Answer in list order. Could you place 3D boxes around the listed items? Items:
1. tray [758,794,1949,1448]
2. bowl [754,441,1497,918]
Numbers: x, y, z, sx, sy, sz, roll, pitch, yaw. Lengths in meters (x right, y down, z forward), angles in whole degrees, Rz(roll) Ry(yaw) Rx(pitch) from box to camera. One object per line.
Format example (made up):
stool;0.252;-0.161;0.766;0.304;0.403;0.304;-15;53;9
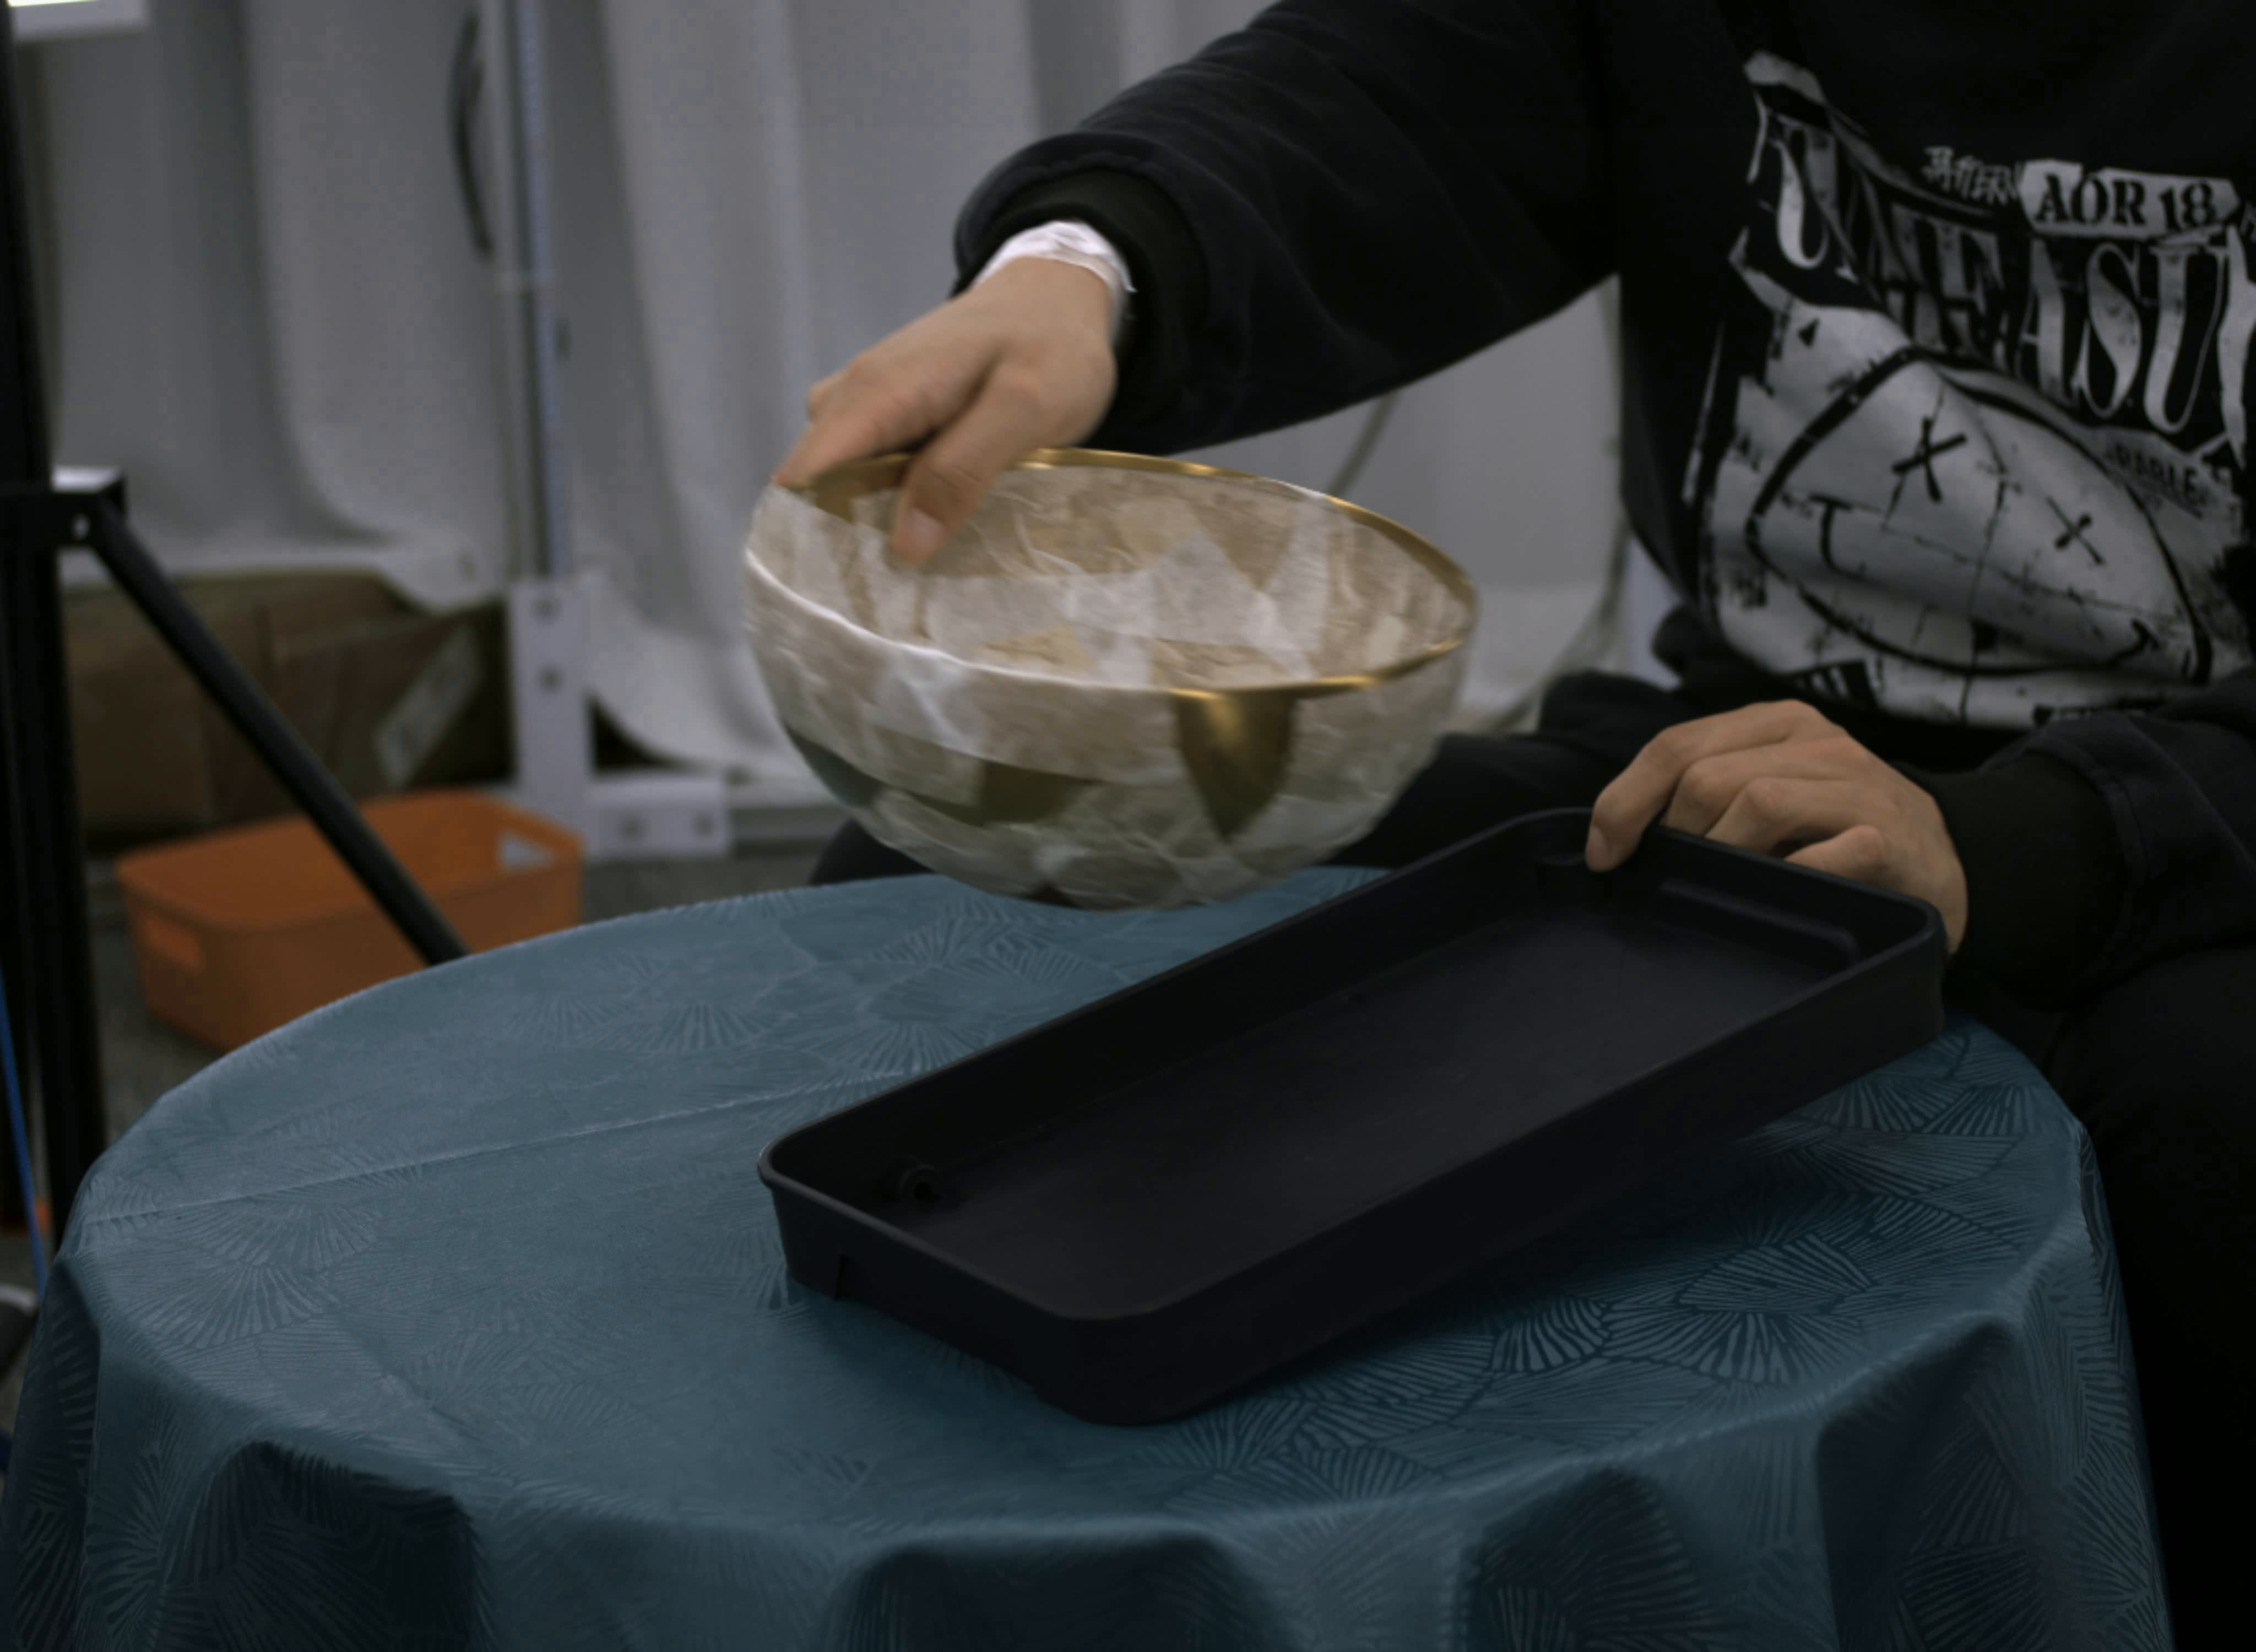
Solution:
tray;0.068;0.077;1.516;0.312;0.037;0.188;-23;25;-28
bowl;0.000;-0.030;1.455;0.213;0.094;0.216;4;20;-3
